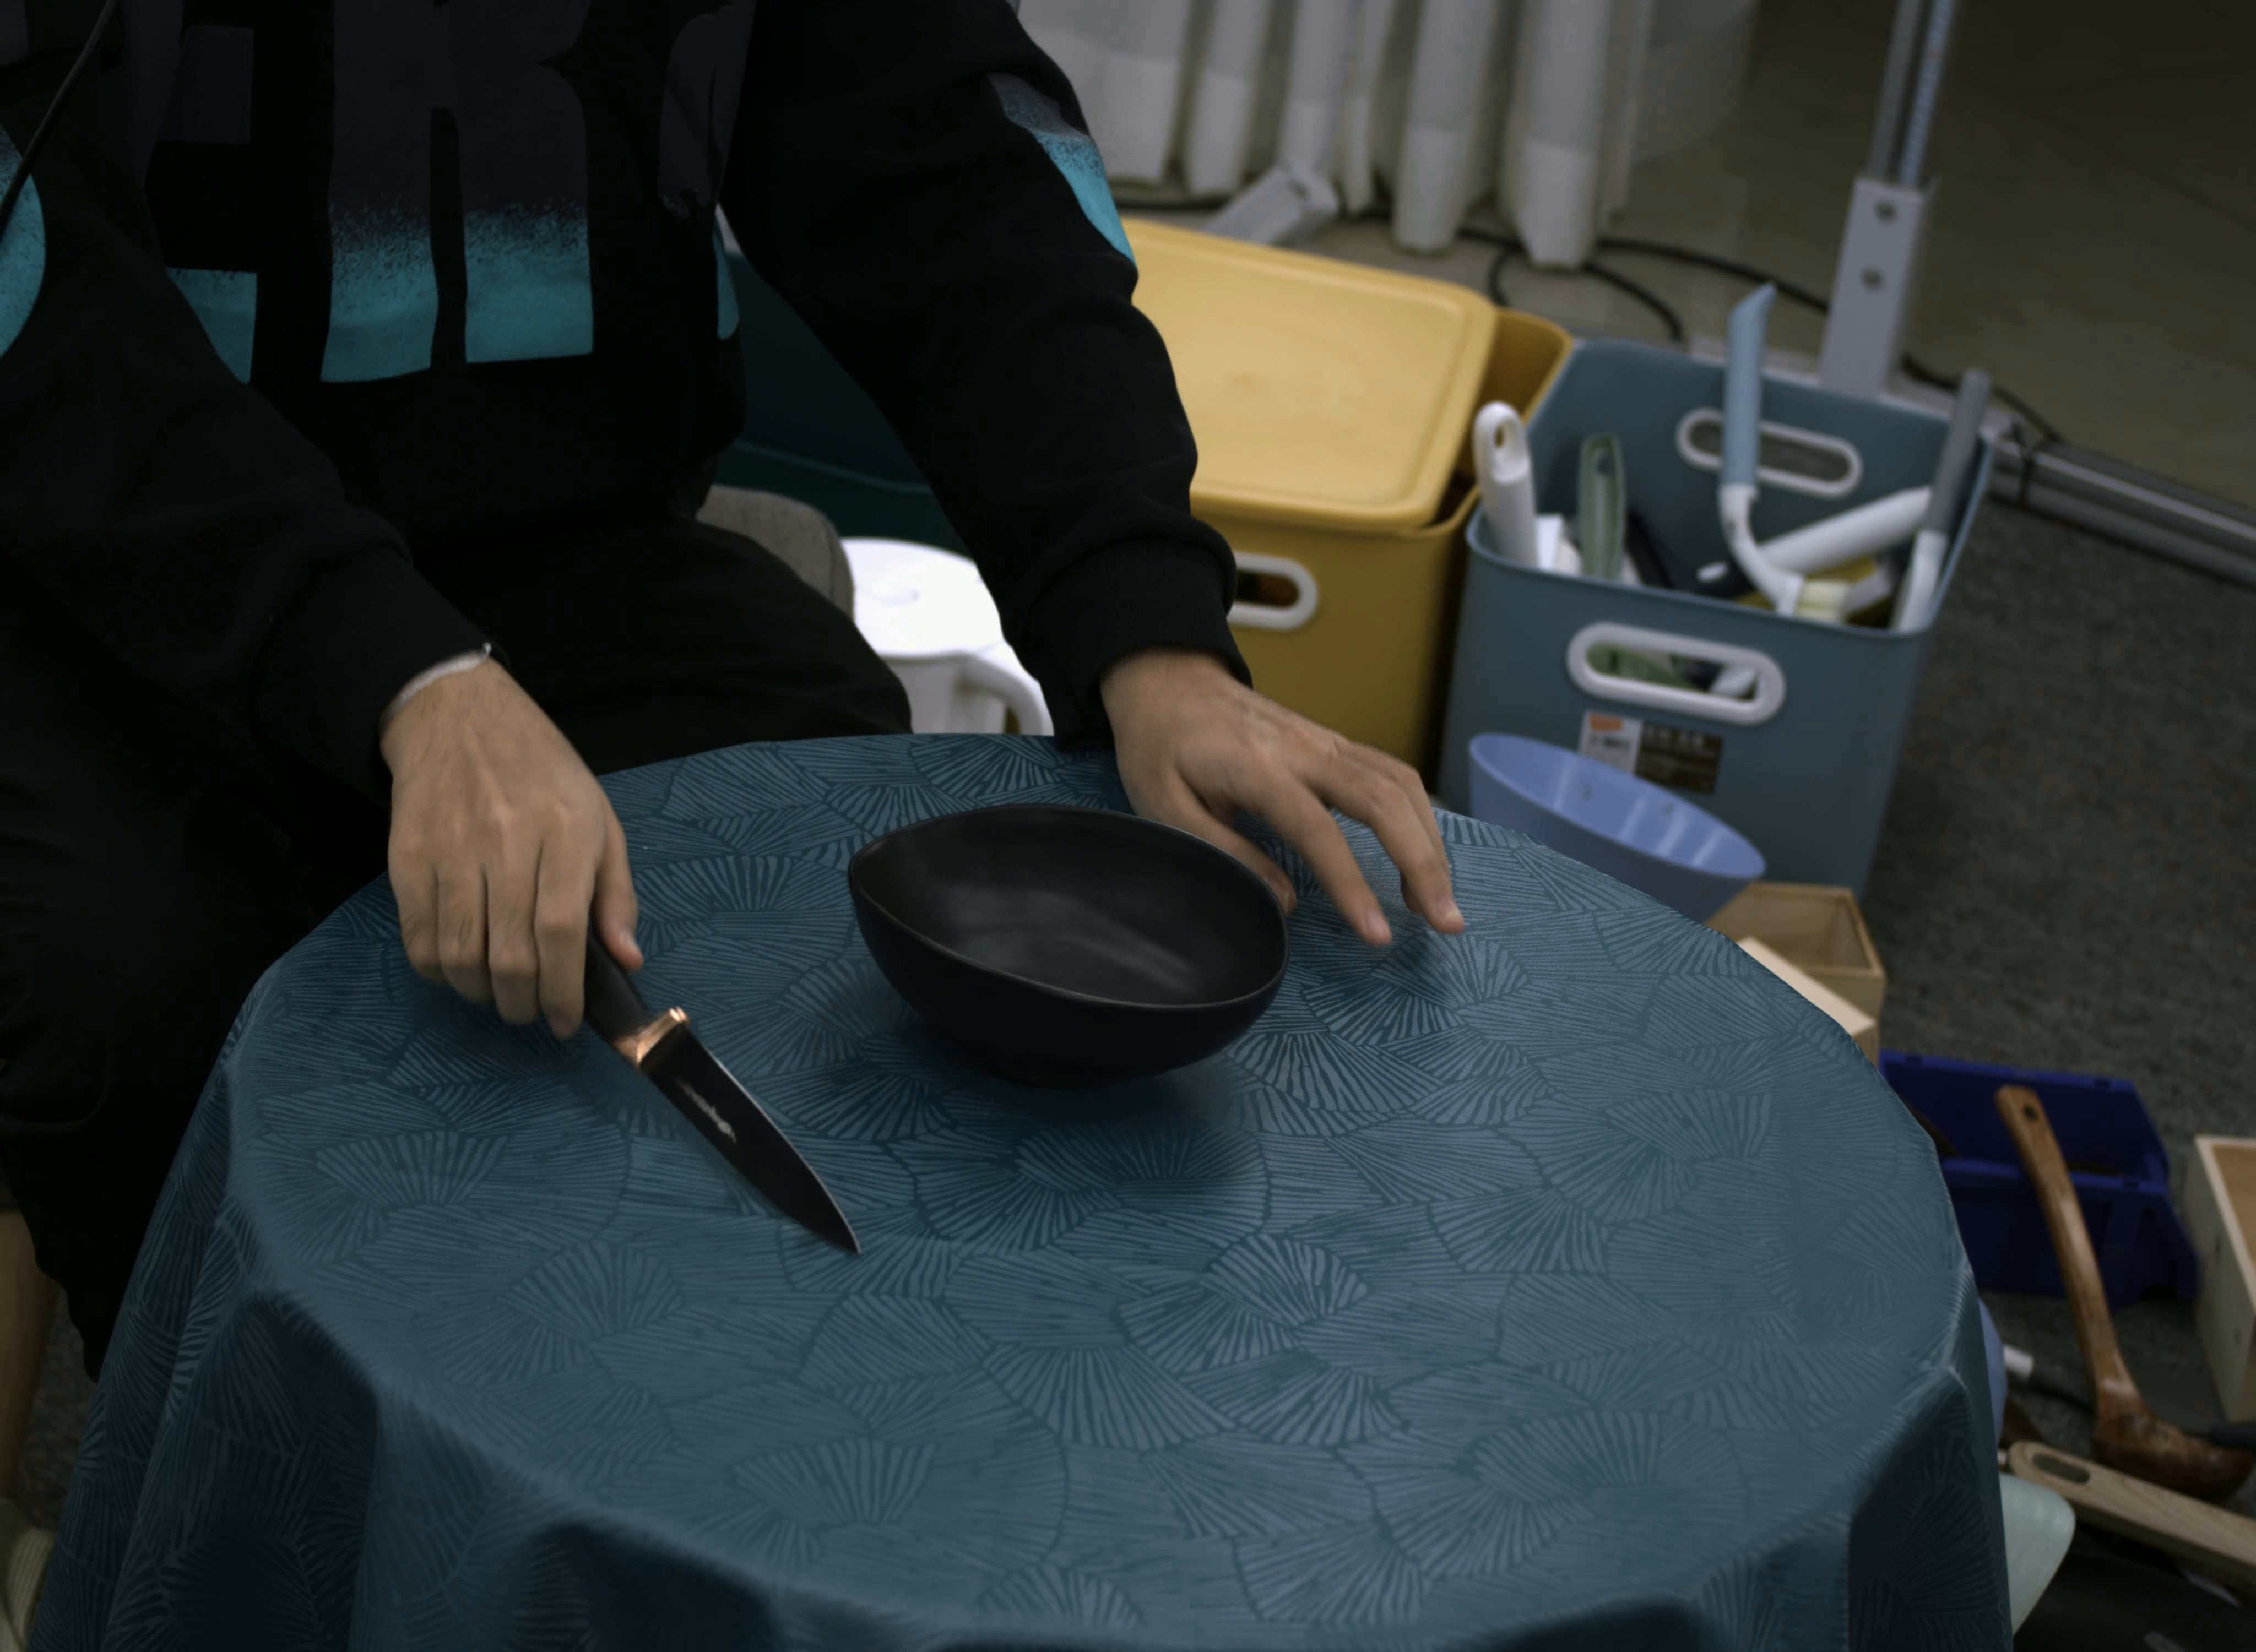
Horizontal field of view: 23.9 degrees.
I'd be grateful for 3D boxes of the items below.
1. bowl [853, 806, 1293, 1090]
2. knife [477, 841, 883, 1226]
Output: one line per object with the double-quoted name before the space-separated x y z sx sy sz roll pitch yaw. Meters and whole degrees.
"bowl" -0.023 0.050 1.870 0.171 0.066 0.137 22 30 32
"knife" -0.154 0.072 1.805 0.227 0.026 0.017 42 10 34
